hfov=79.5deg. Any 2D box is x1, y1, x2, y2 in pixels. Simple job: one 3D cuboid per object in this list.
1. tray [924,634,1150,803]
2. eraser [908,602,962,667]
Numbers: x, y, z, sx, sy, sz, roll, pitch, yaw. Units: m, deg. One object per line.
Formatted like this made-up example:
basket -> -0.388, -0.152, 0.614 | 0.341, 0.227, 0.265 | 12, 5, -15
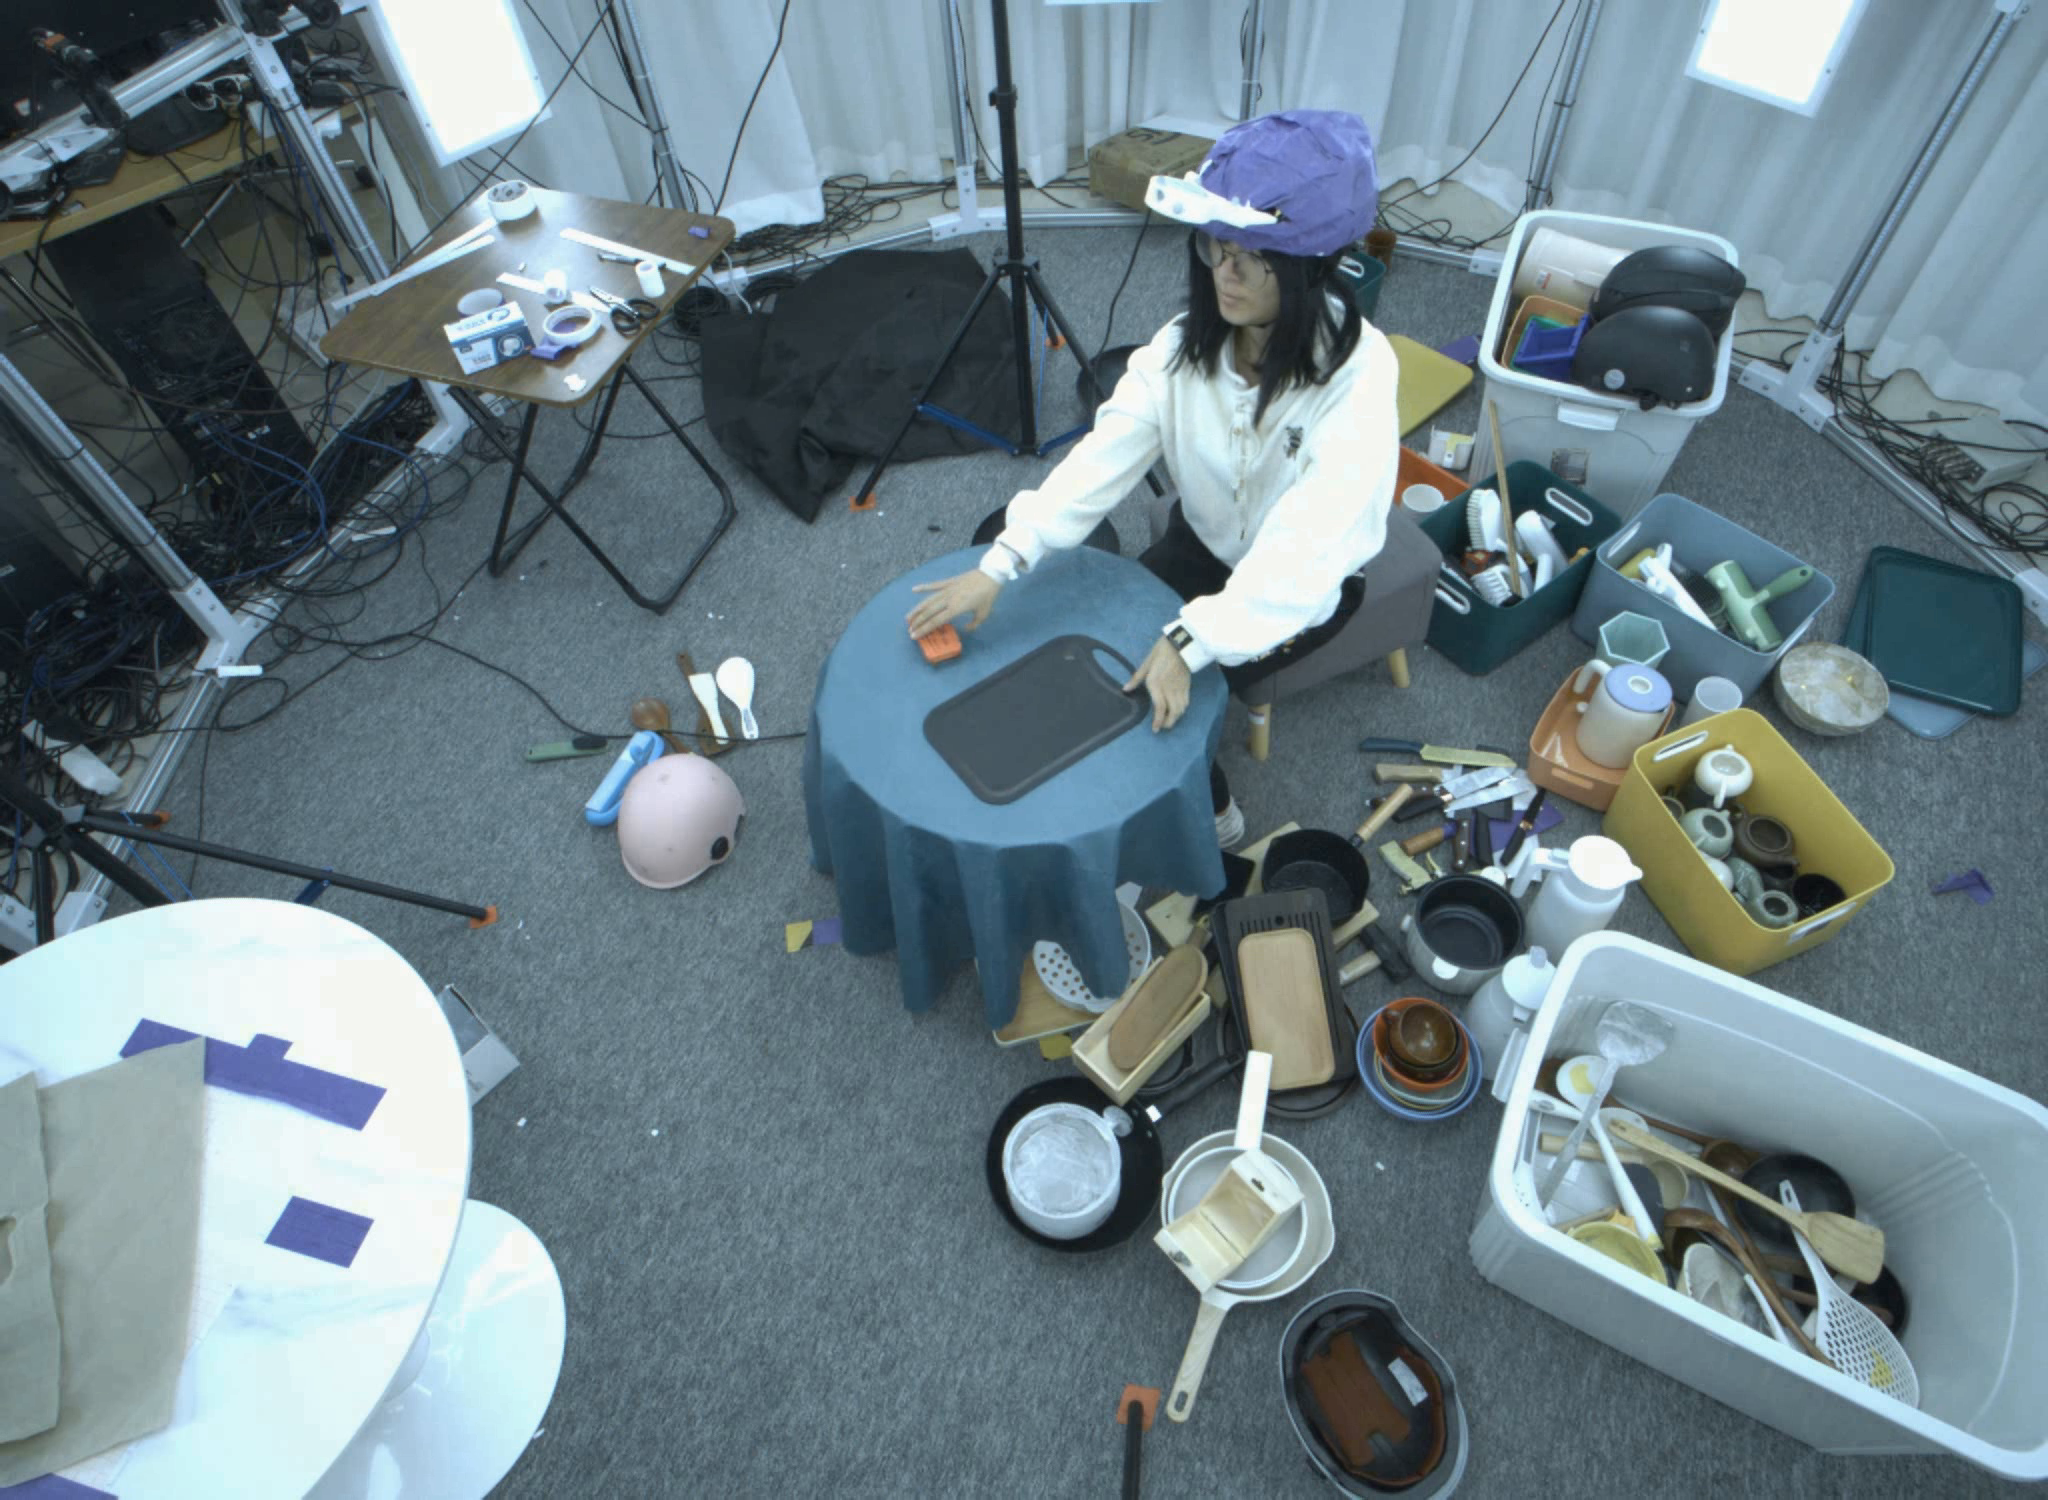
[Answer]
tray -> 0.026, -0.058, 1.824 | 0.328, 0.010, 0.207 | -32, 60, -19
eraser -> -0.139, -0.181, 1.906 | 0.059, 0.023, 0.106 | -19, 57, -10
